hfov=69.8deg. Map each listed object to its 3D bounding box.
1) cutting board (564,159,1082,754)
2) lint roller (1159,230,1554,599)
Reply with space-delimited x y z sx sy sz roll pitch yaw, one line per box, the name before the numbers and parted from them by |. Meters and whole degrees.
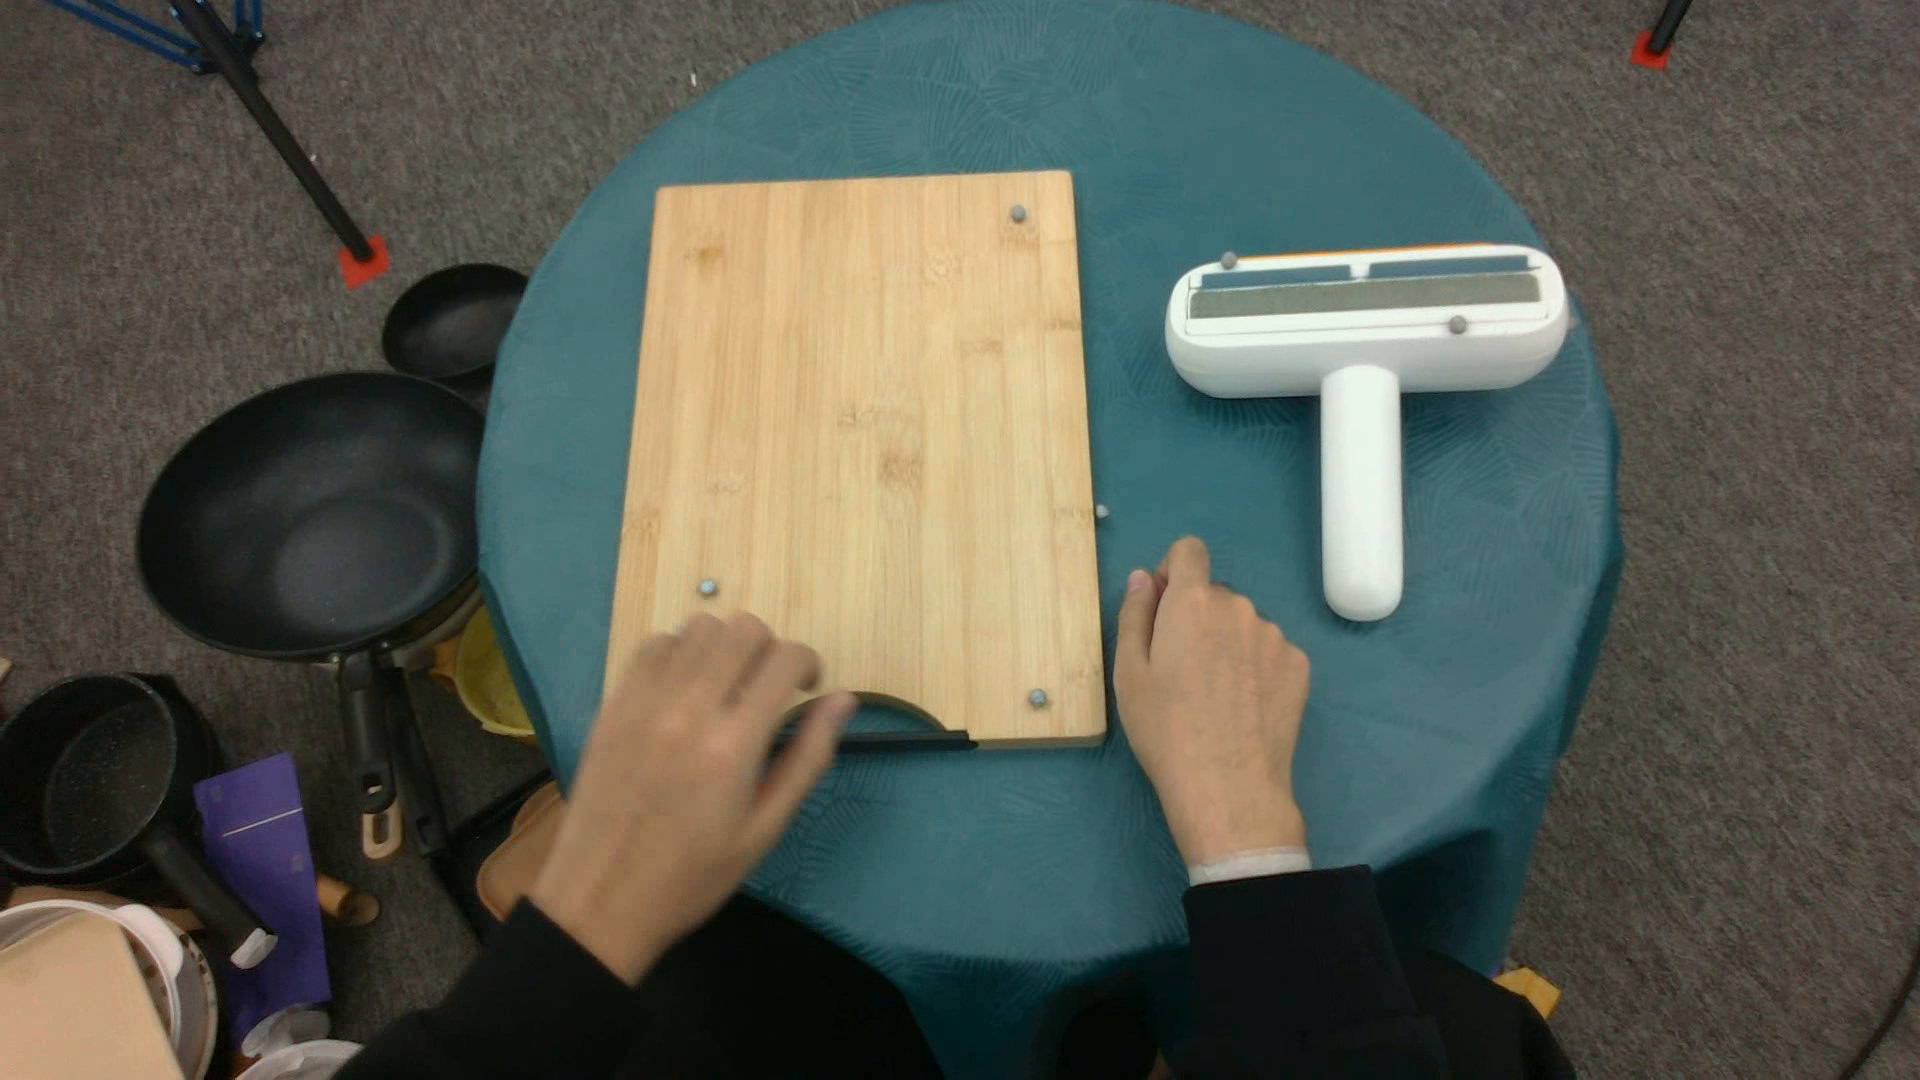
cutting board | -0.065 -0.059 0.721 0.251 0.023 0.350 -2 64 1
lint roller | 0.190 -0.067 0.686 0.193 0.074 0.193 5 66 11
